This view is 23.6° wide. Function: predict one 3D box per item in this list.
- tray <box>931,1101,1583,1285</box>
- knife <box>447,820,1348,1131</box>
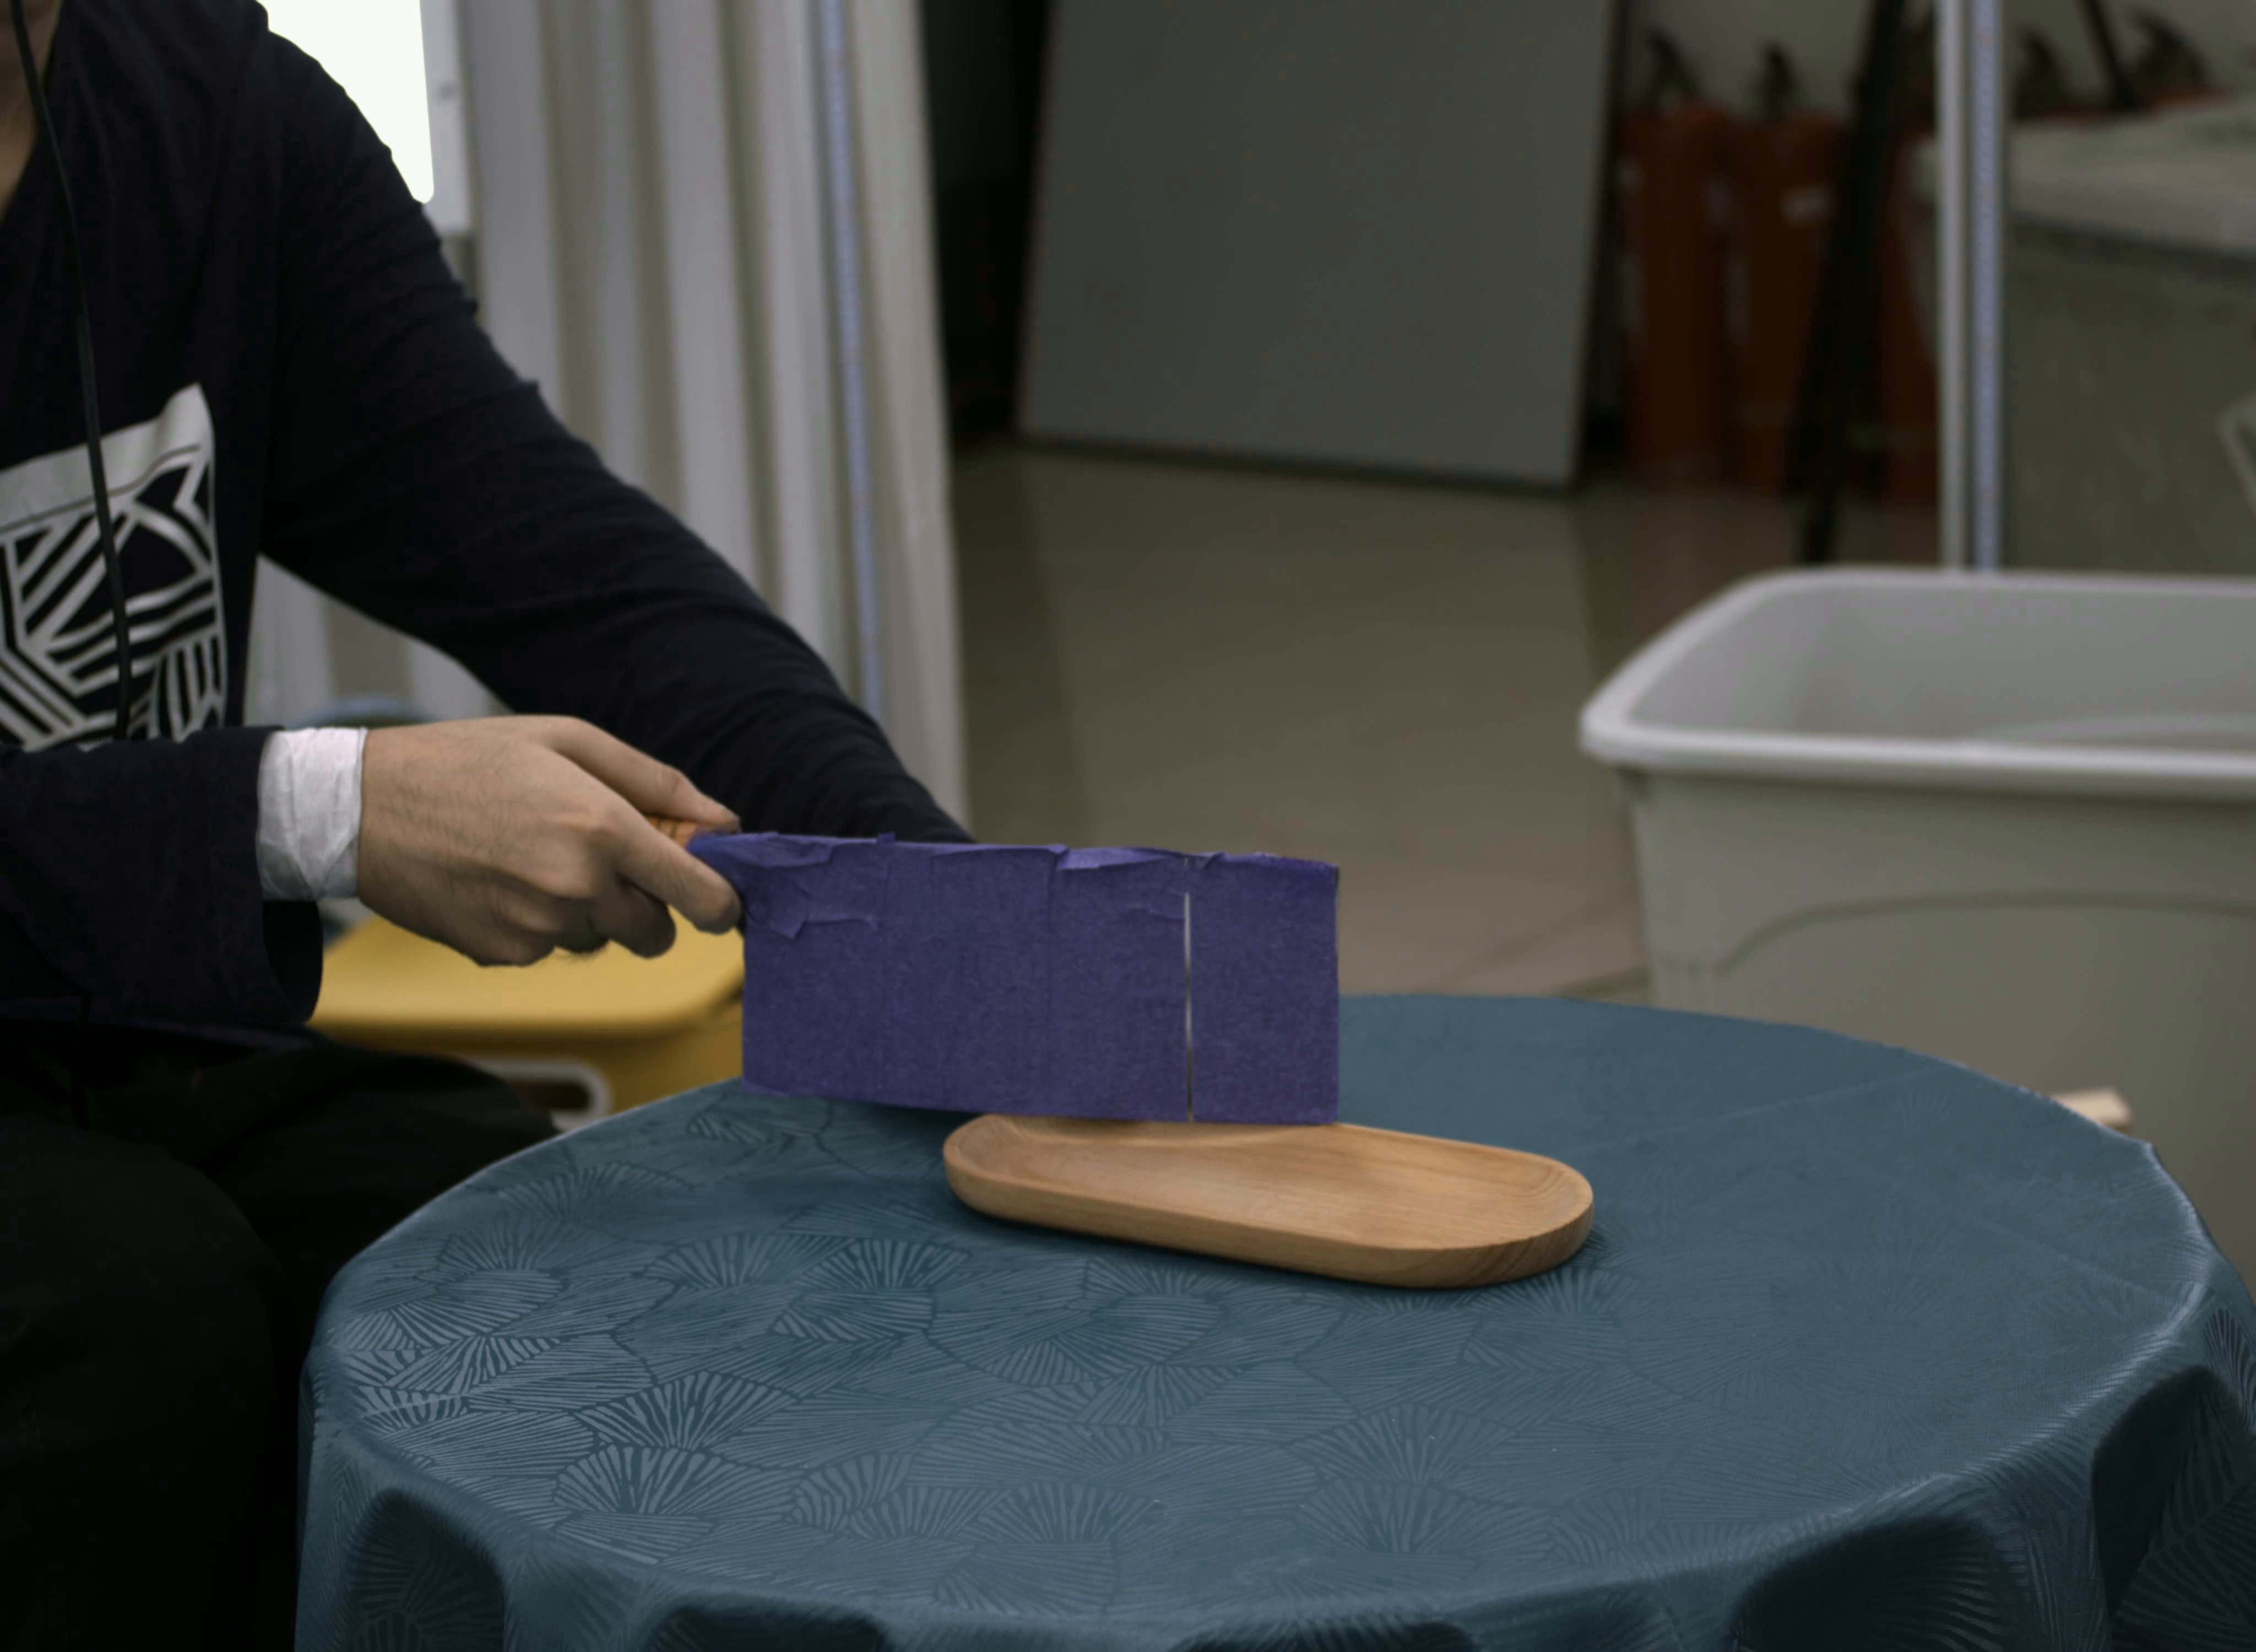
[{"bbox_3d":[0.040,0.118,1.737,0.232,0.020,0.100,4,16,34],"label":"tray"},{"bbox_3d":[-0.079,0.048,1.804,0.314,0.105,0.032,1,3,18],"label":"knife"}]
